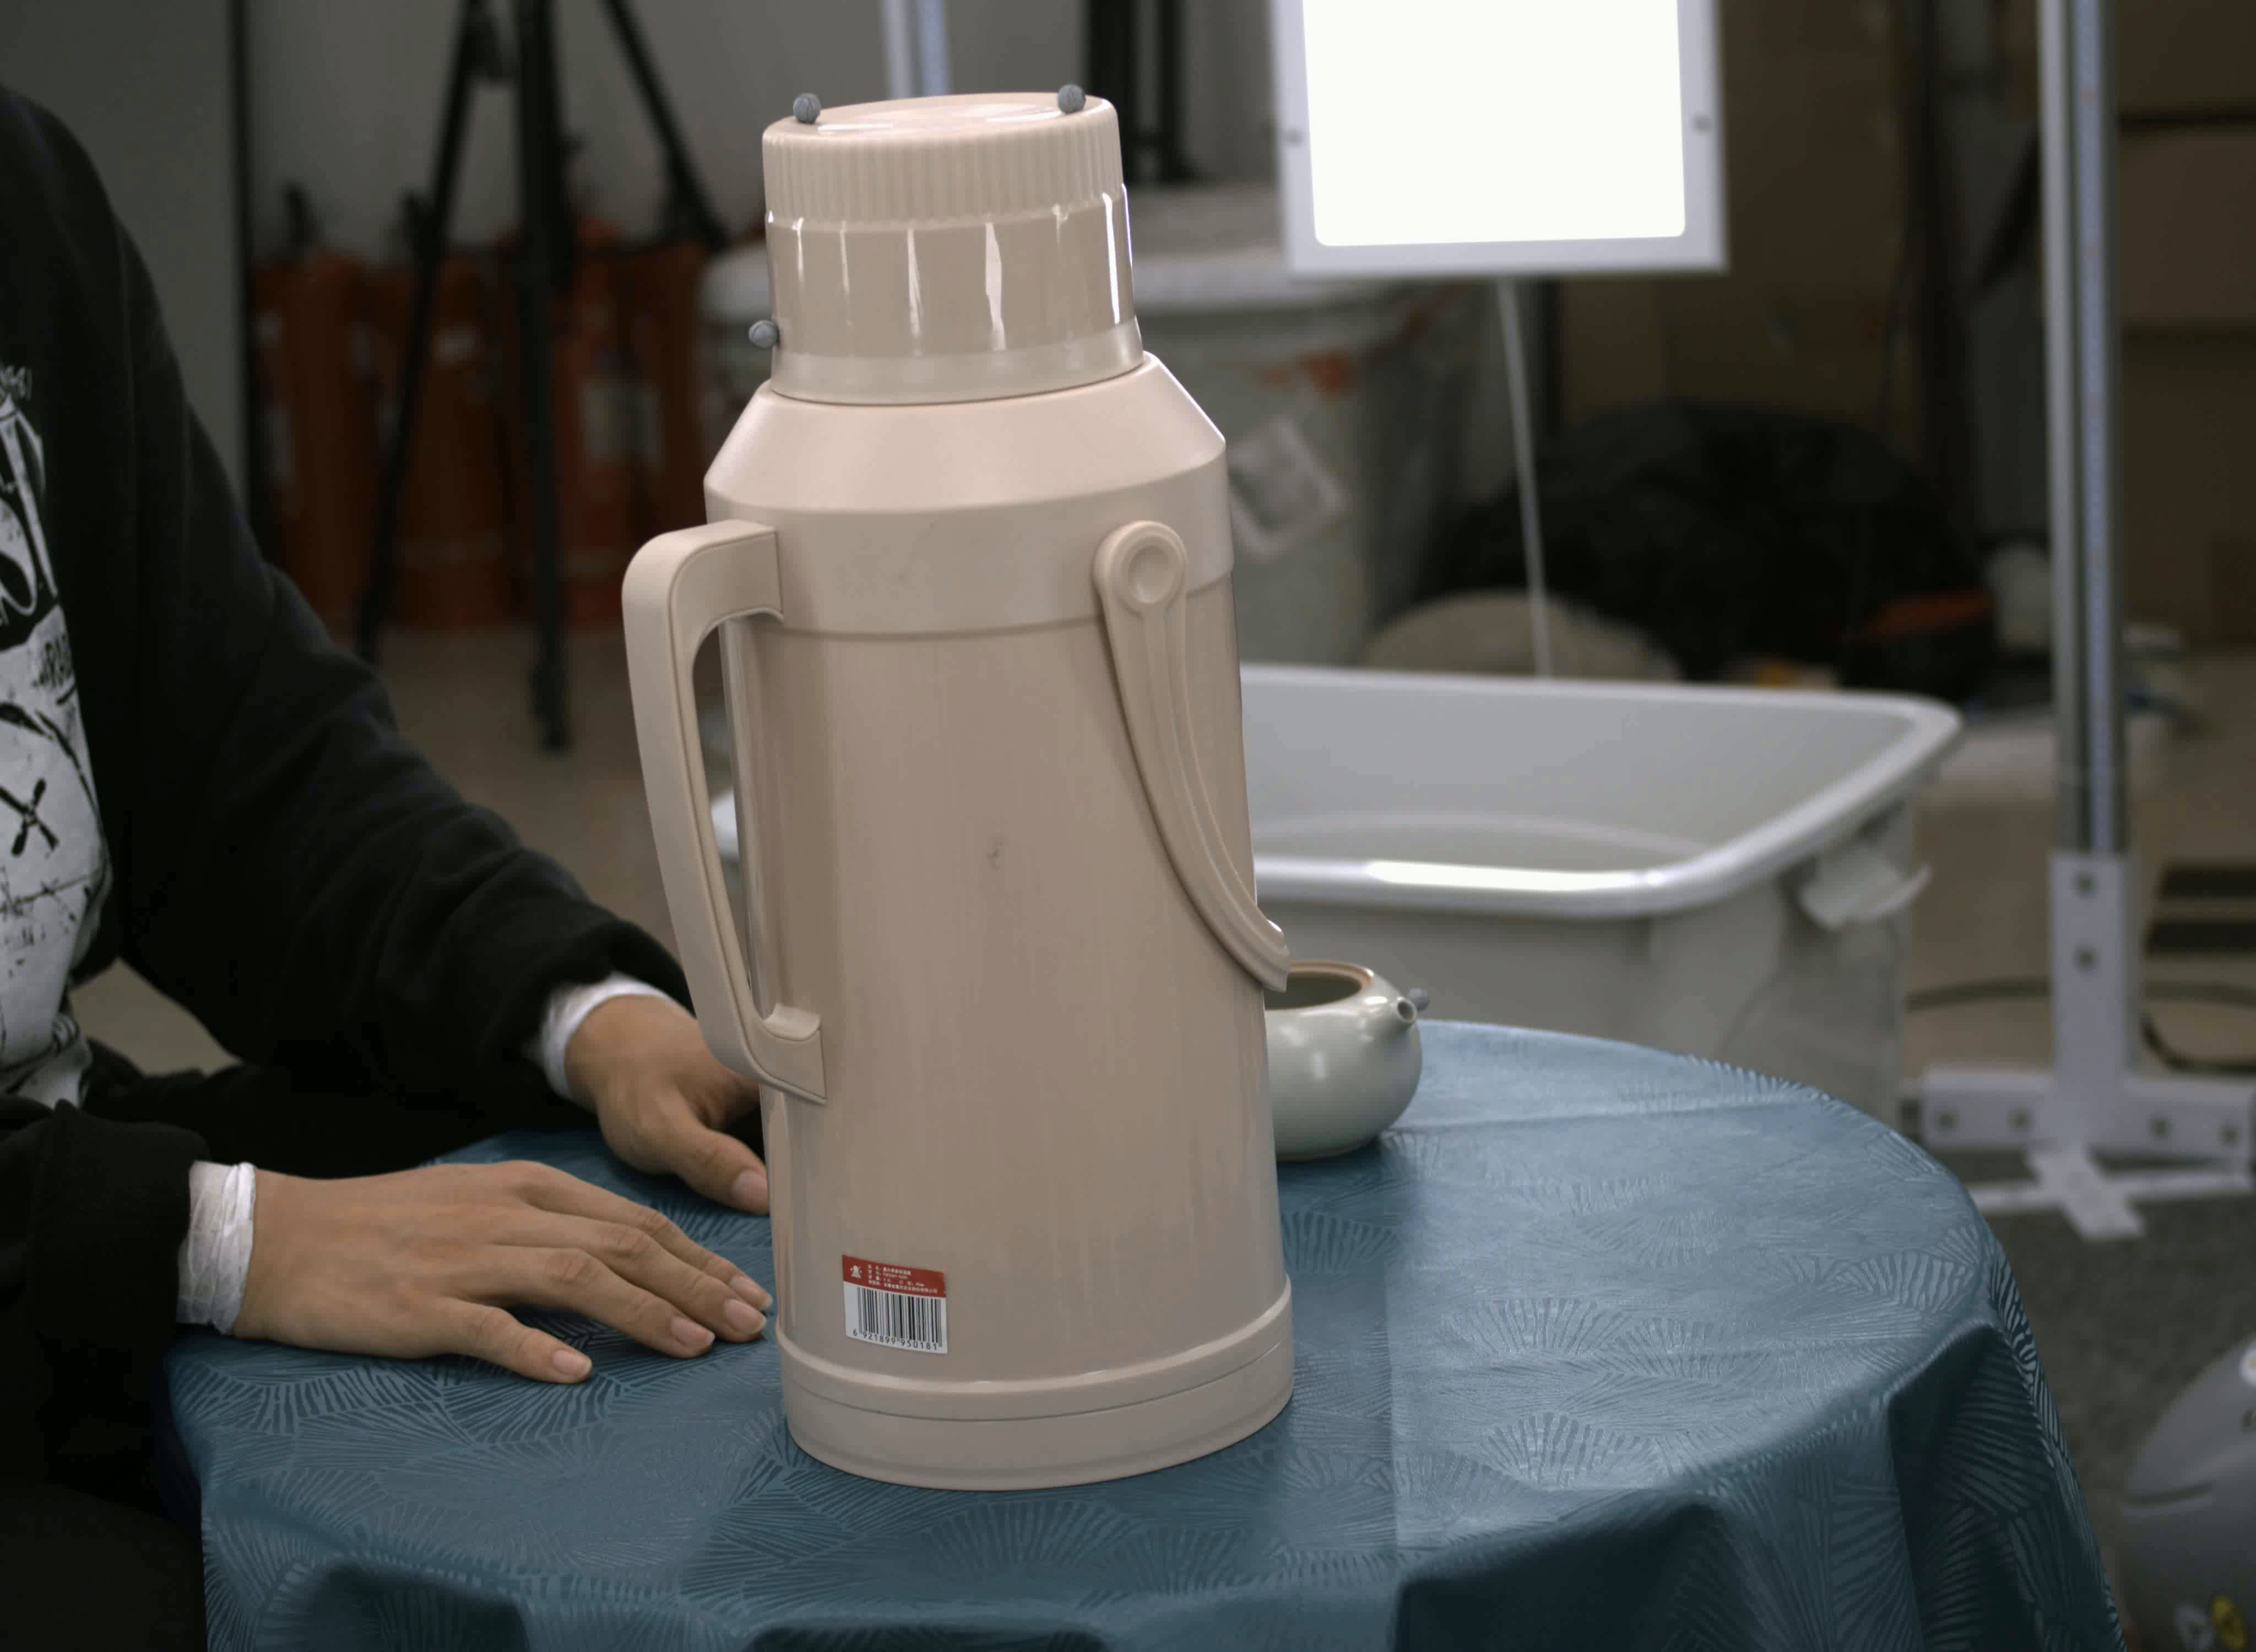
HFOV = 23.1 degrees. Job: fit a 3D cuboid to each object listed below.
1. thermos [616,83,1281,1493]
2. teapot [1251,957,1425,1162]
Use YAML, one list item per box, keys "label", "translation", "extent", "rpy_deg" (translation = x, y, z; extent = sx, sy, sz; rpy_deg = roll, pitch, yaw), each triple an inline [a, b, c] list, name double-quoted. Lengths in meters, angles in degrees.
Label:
- label: "thermos"
  translation: [-0.056, -0.011, 1.648]
  extent: [0.202, 0.408, 0.179]
  rpy_deg: [-14, 18, -35]
- label: "teapot"
  translation: [0.051, 0.081, 1.941]
  extent: [0.131, 0.060, 0.089]
  rpy_deg: [7, 22, 38]
